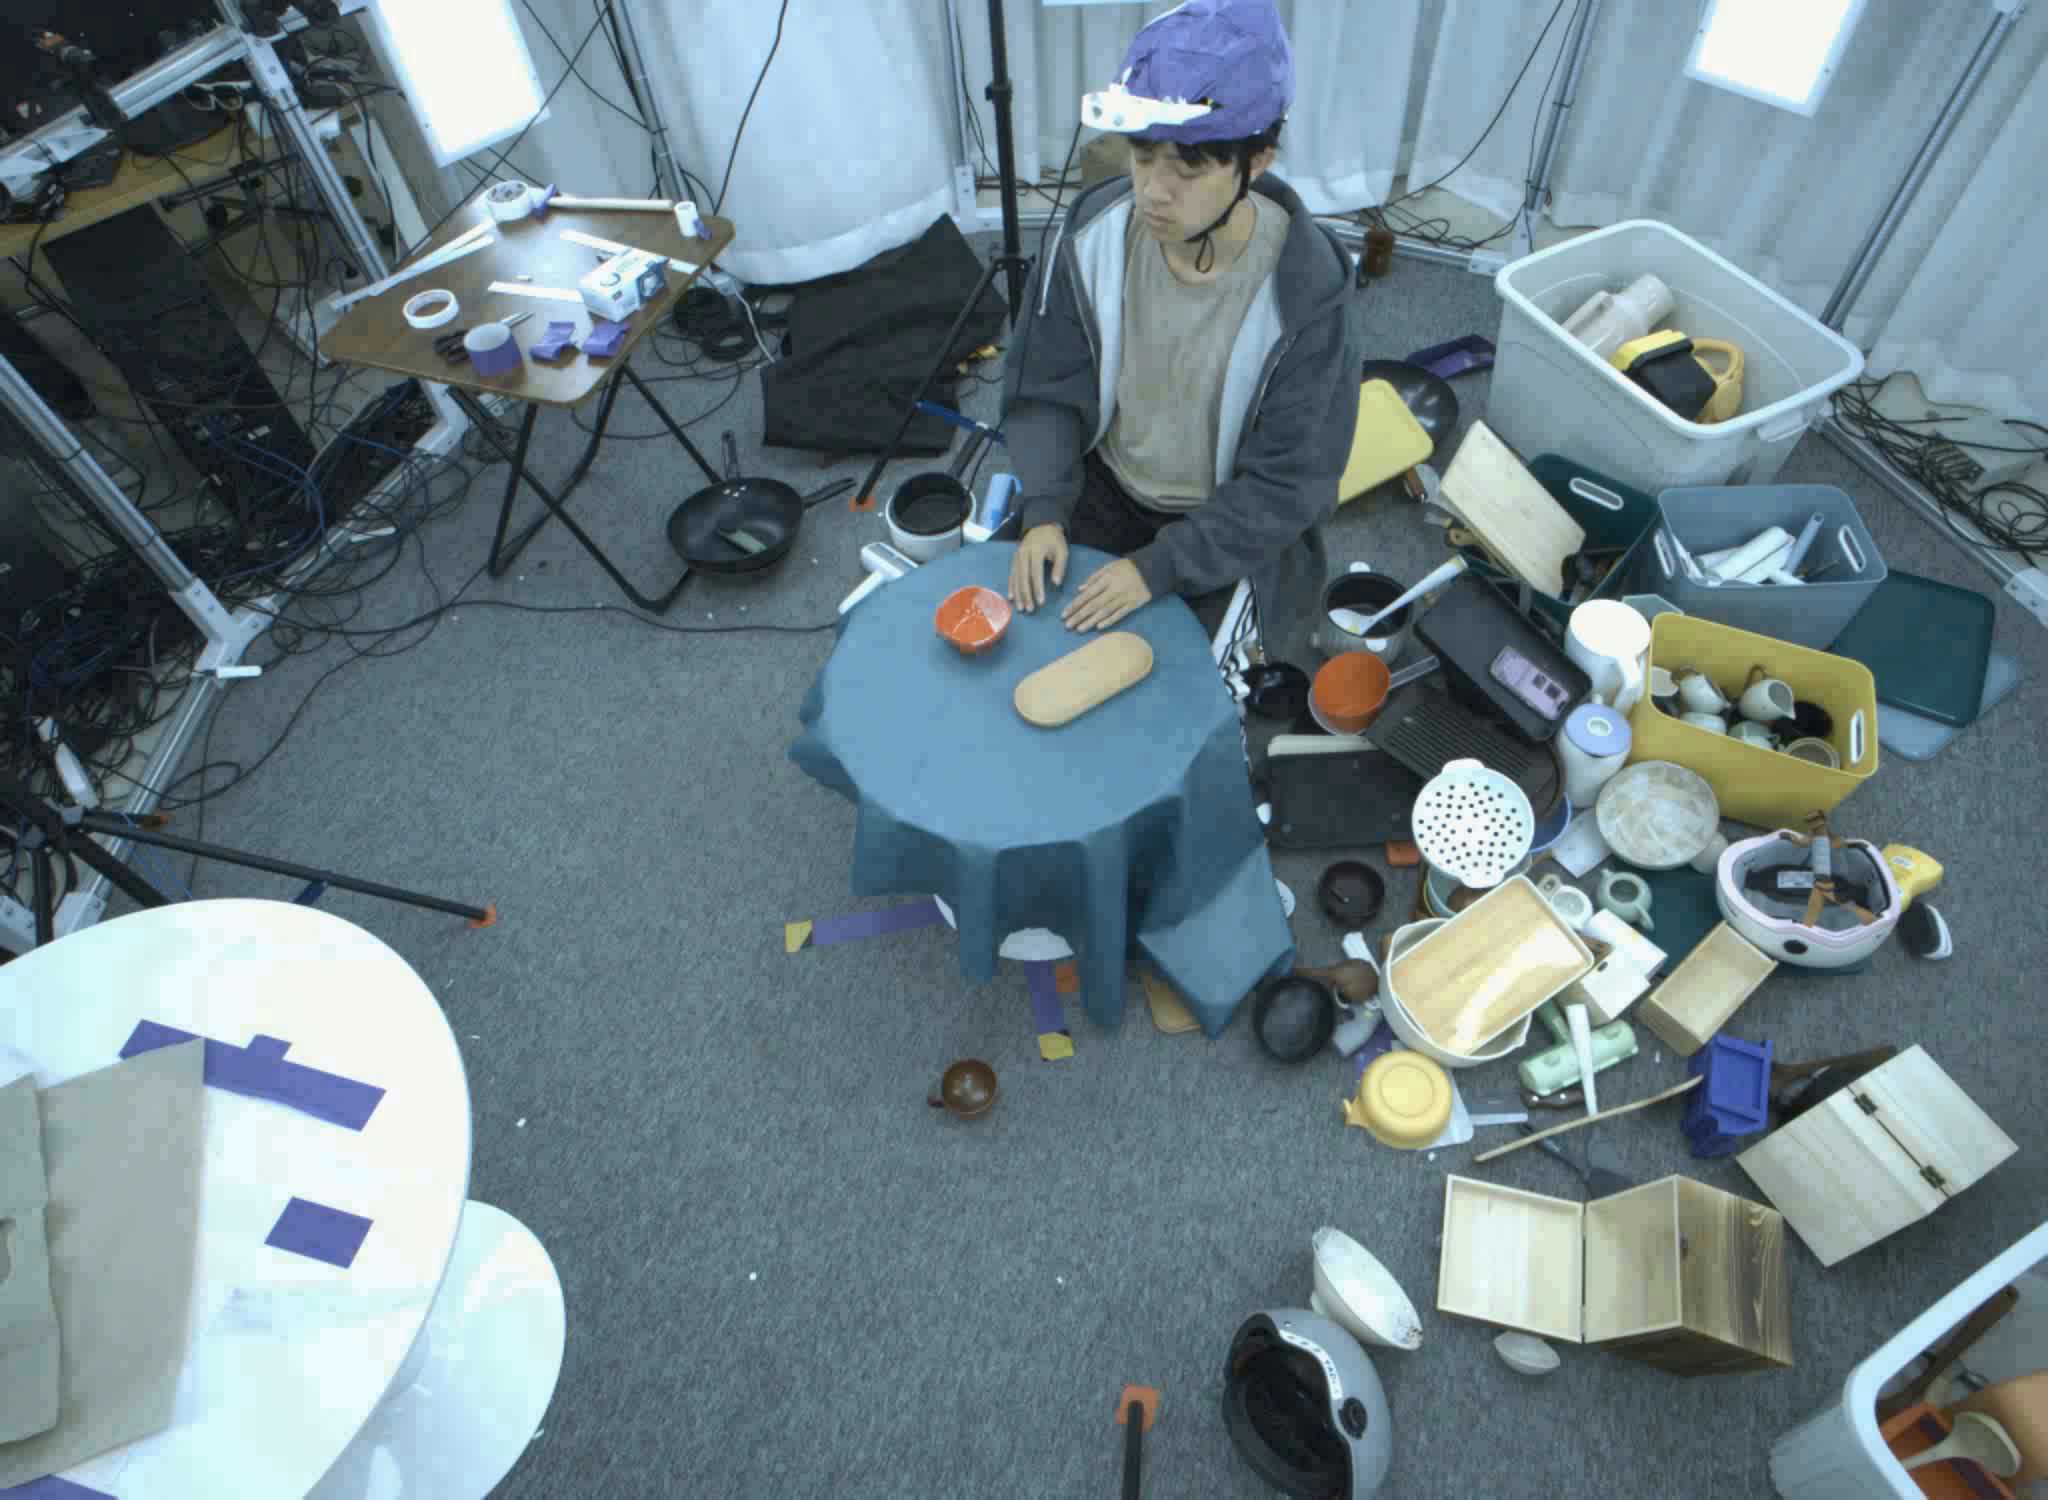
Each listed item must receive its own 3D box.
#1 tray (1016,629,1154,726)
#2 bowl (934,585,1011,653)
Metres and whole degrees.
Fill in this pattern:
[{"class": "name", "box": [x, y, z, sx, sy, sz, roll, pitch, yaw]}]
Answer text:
[{"class": "tray", "box": [0.093, -0.110, 1.855, 0.233, 0.020, 0.100, -30, 60, -19]}, {"class": "bowl", "box": [-0.077, -0.195, 1.898, 0.119, 0.052, 0.118, -1, 55, 3]}]
